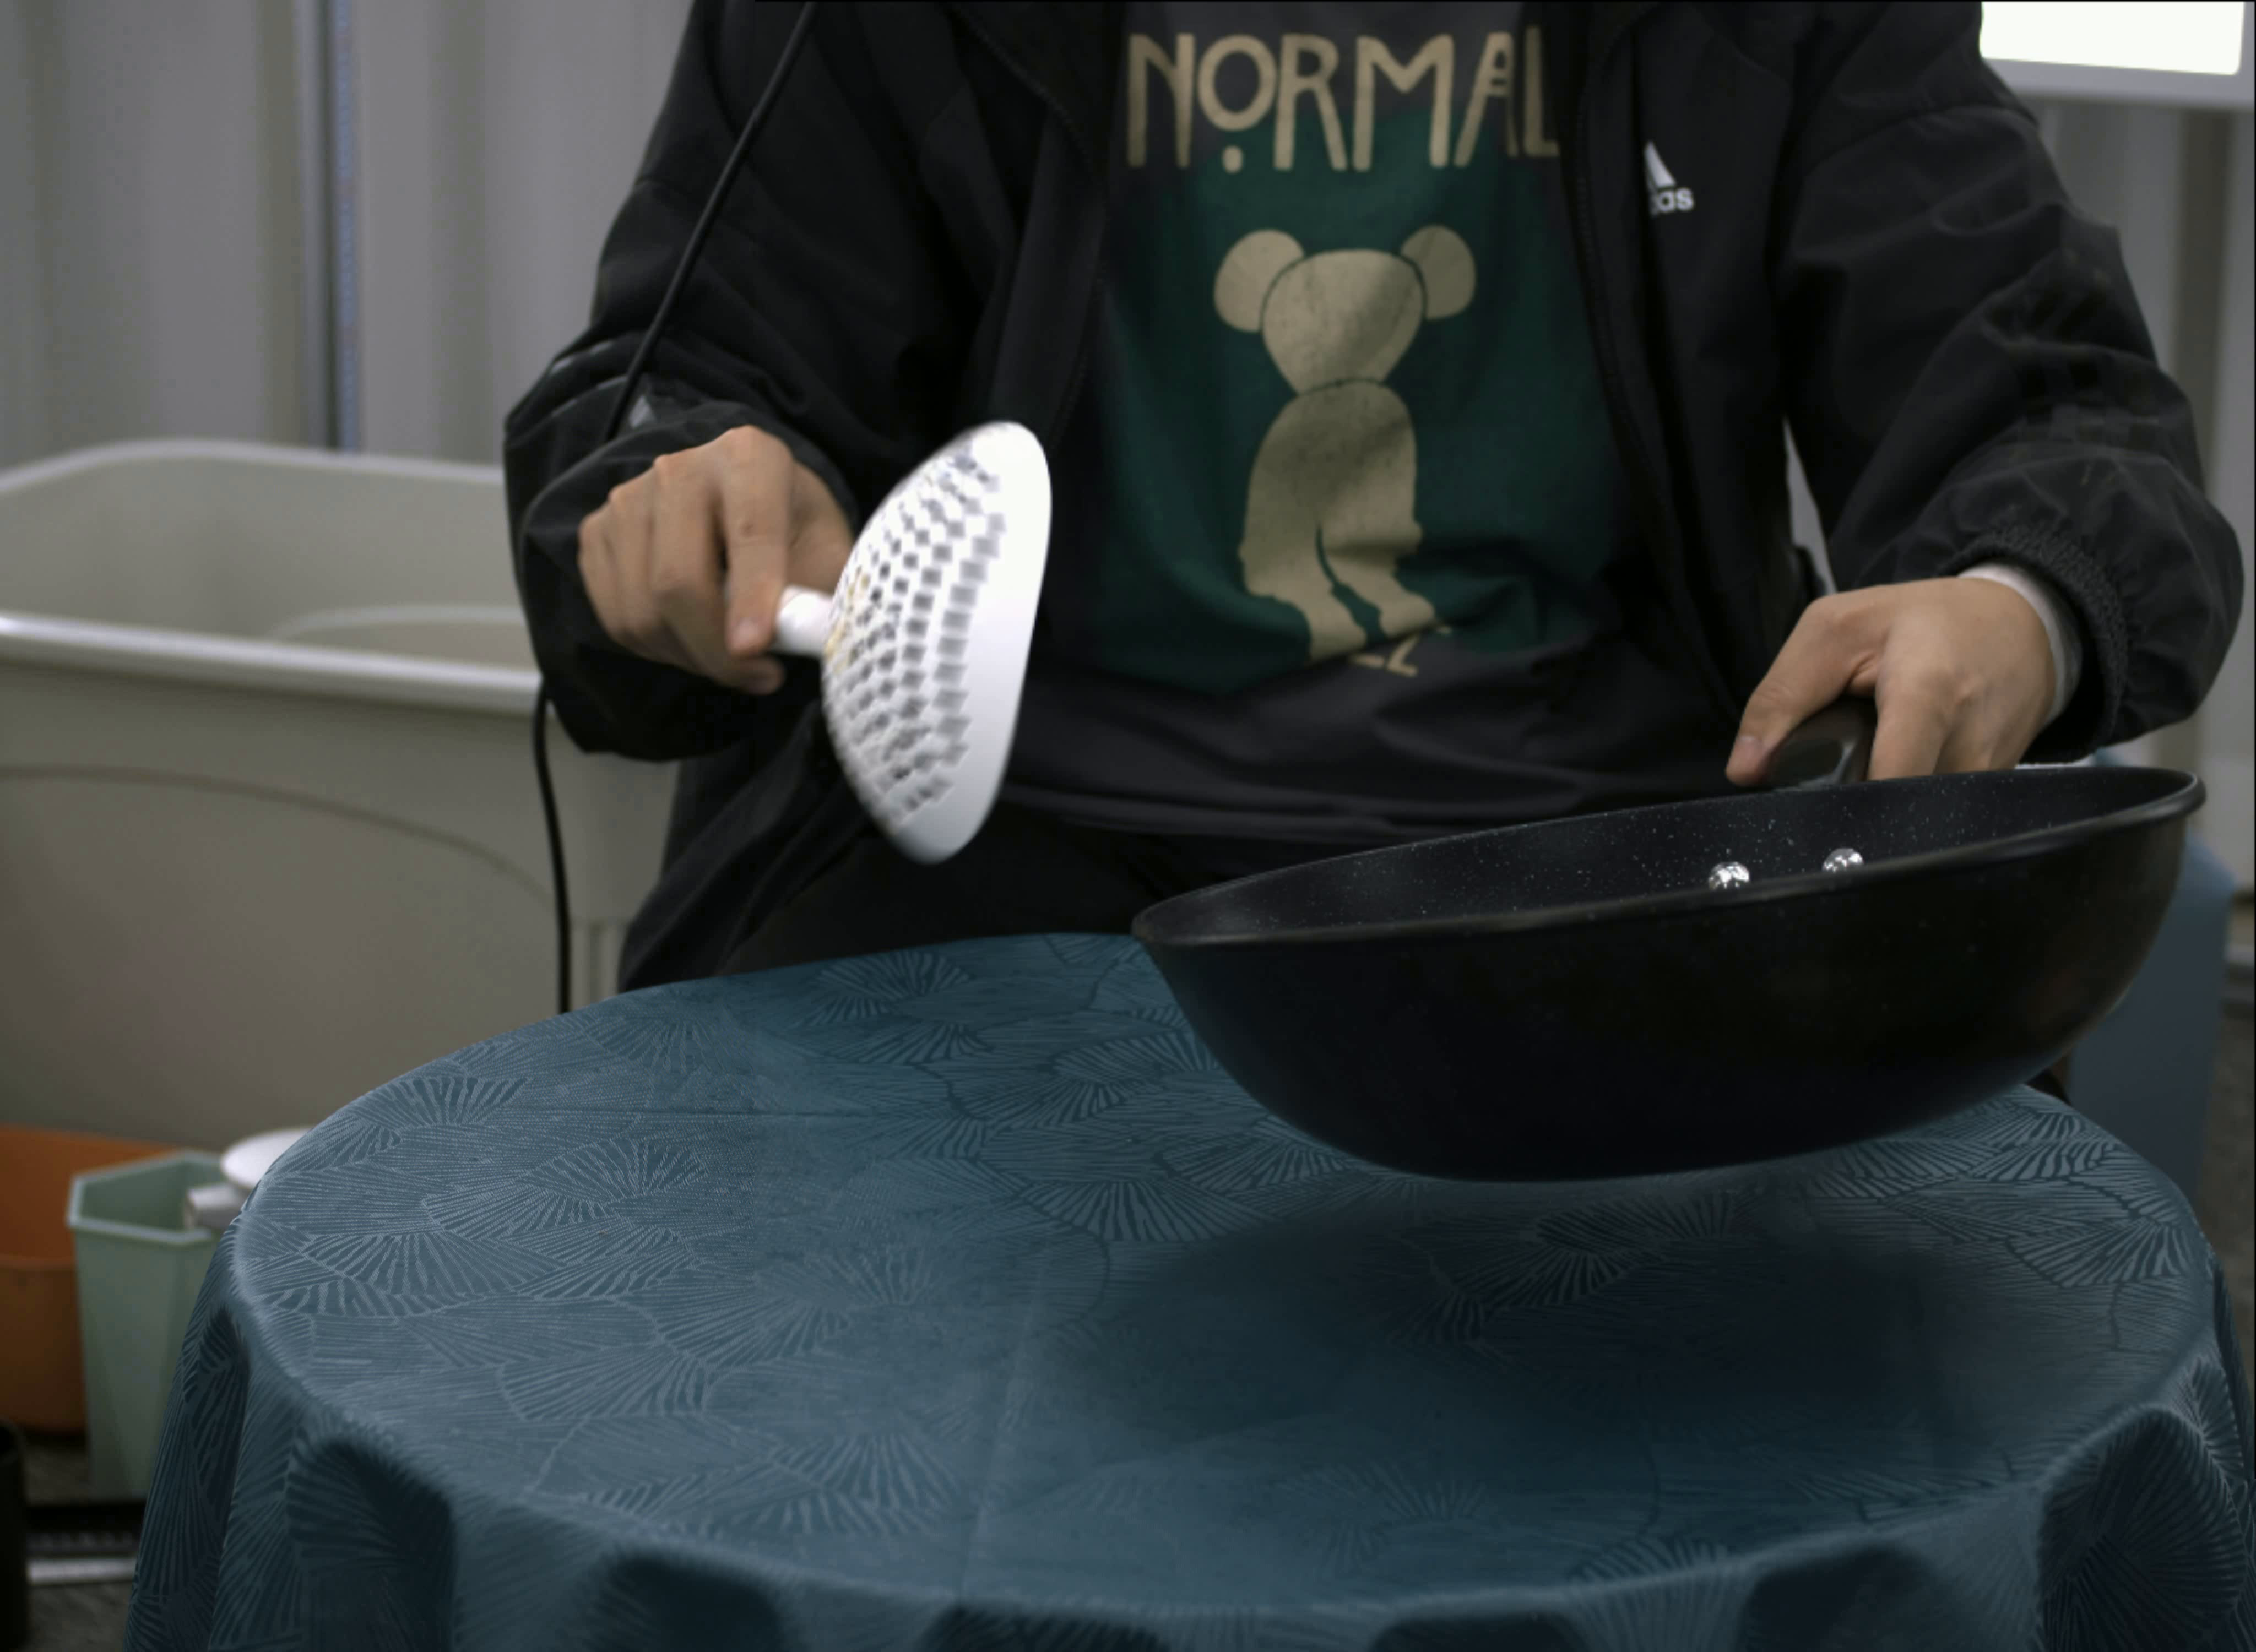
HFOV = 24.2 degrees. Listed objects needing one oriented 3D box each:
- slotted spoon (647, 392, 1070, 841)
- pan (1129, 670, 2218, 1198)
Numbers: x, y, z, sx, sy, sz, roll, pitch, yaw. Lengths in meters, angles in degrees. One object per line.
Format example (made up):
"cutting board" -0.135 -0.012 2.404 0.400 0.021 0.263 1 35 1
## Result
"slotted spoon" -0.094 -0.070 1.702 0.050 0.137 0.345 4 1 -18
"pan" 0.184 0.029 1.581 0.307 0.112 0.478 -5 5 20
